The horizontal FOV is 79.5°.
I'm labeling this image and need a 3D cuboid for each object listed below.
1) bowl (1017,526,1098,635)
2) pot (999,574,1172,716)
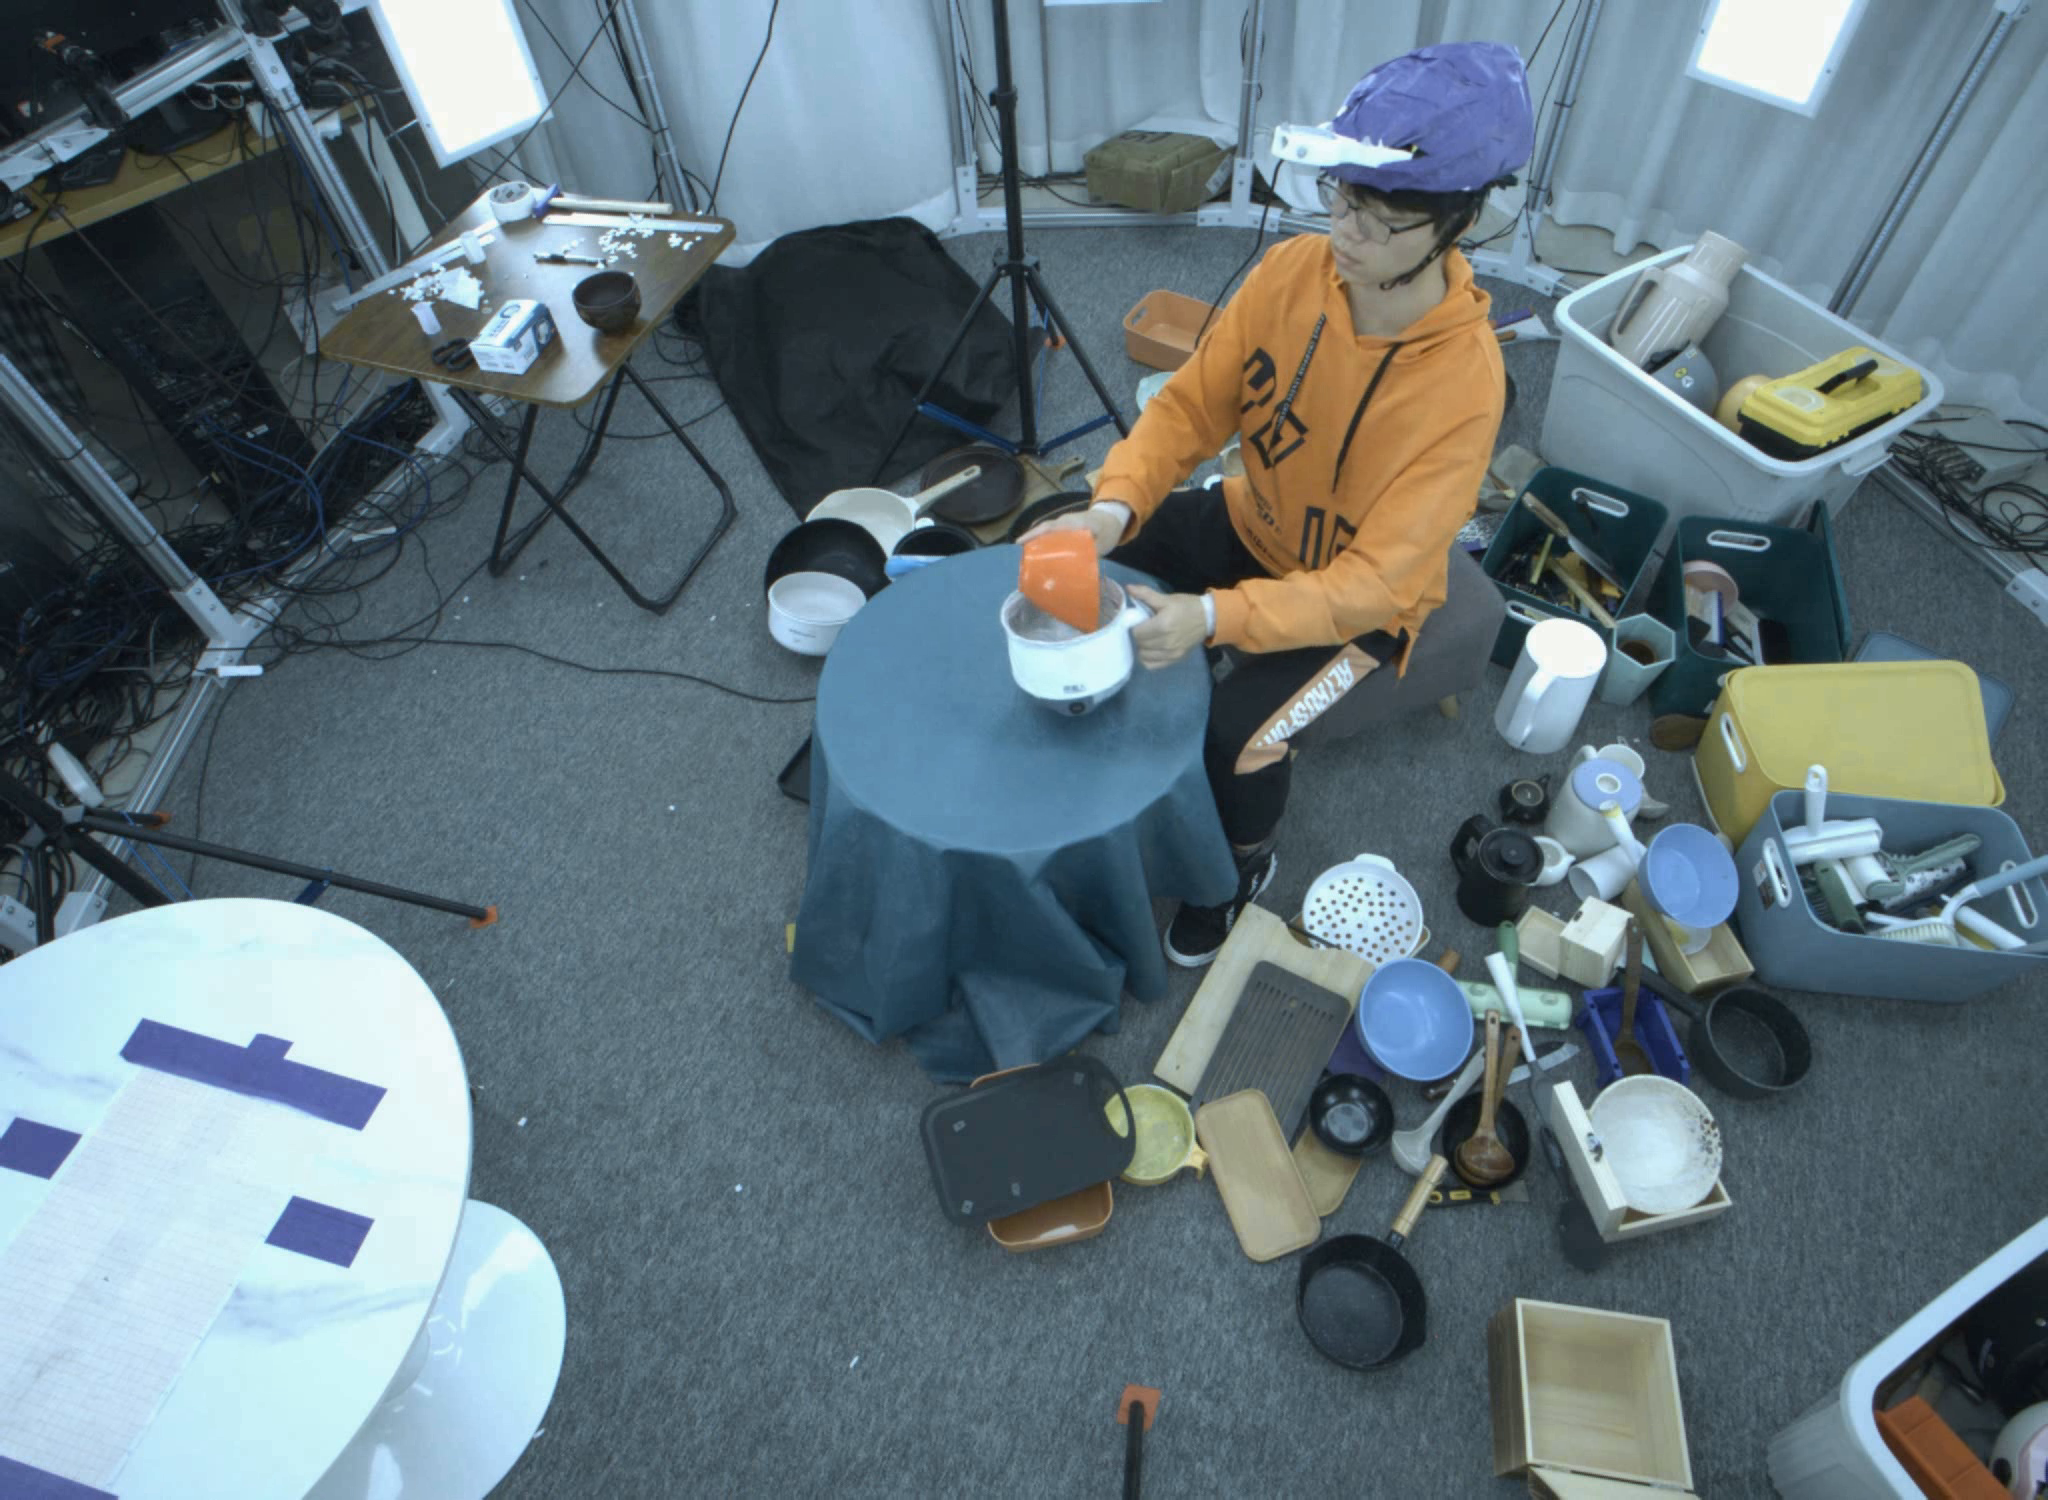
[{"bbox_3d":[0.044,-0.234,1.668,0.105,0.149,0.146,3,55,-6],"label":"bowl"},{"bbox_3d":[0.090,-0.157,1.751,0.233,0.138,0.176,-9,42,3],"label":"pot"}]
